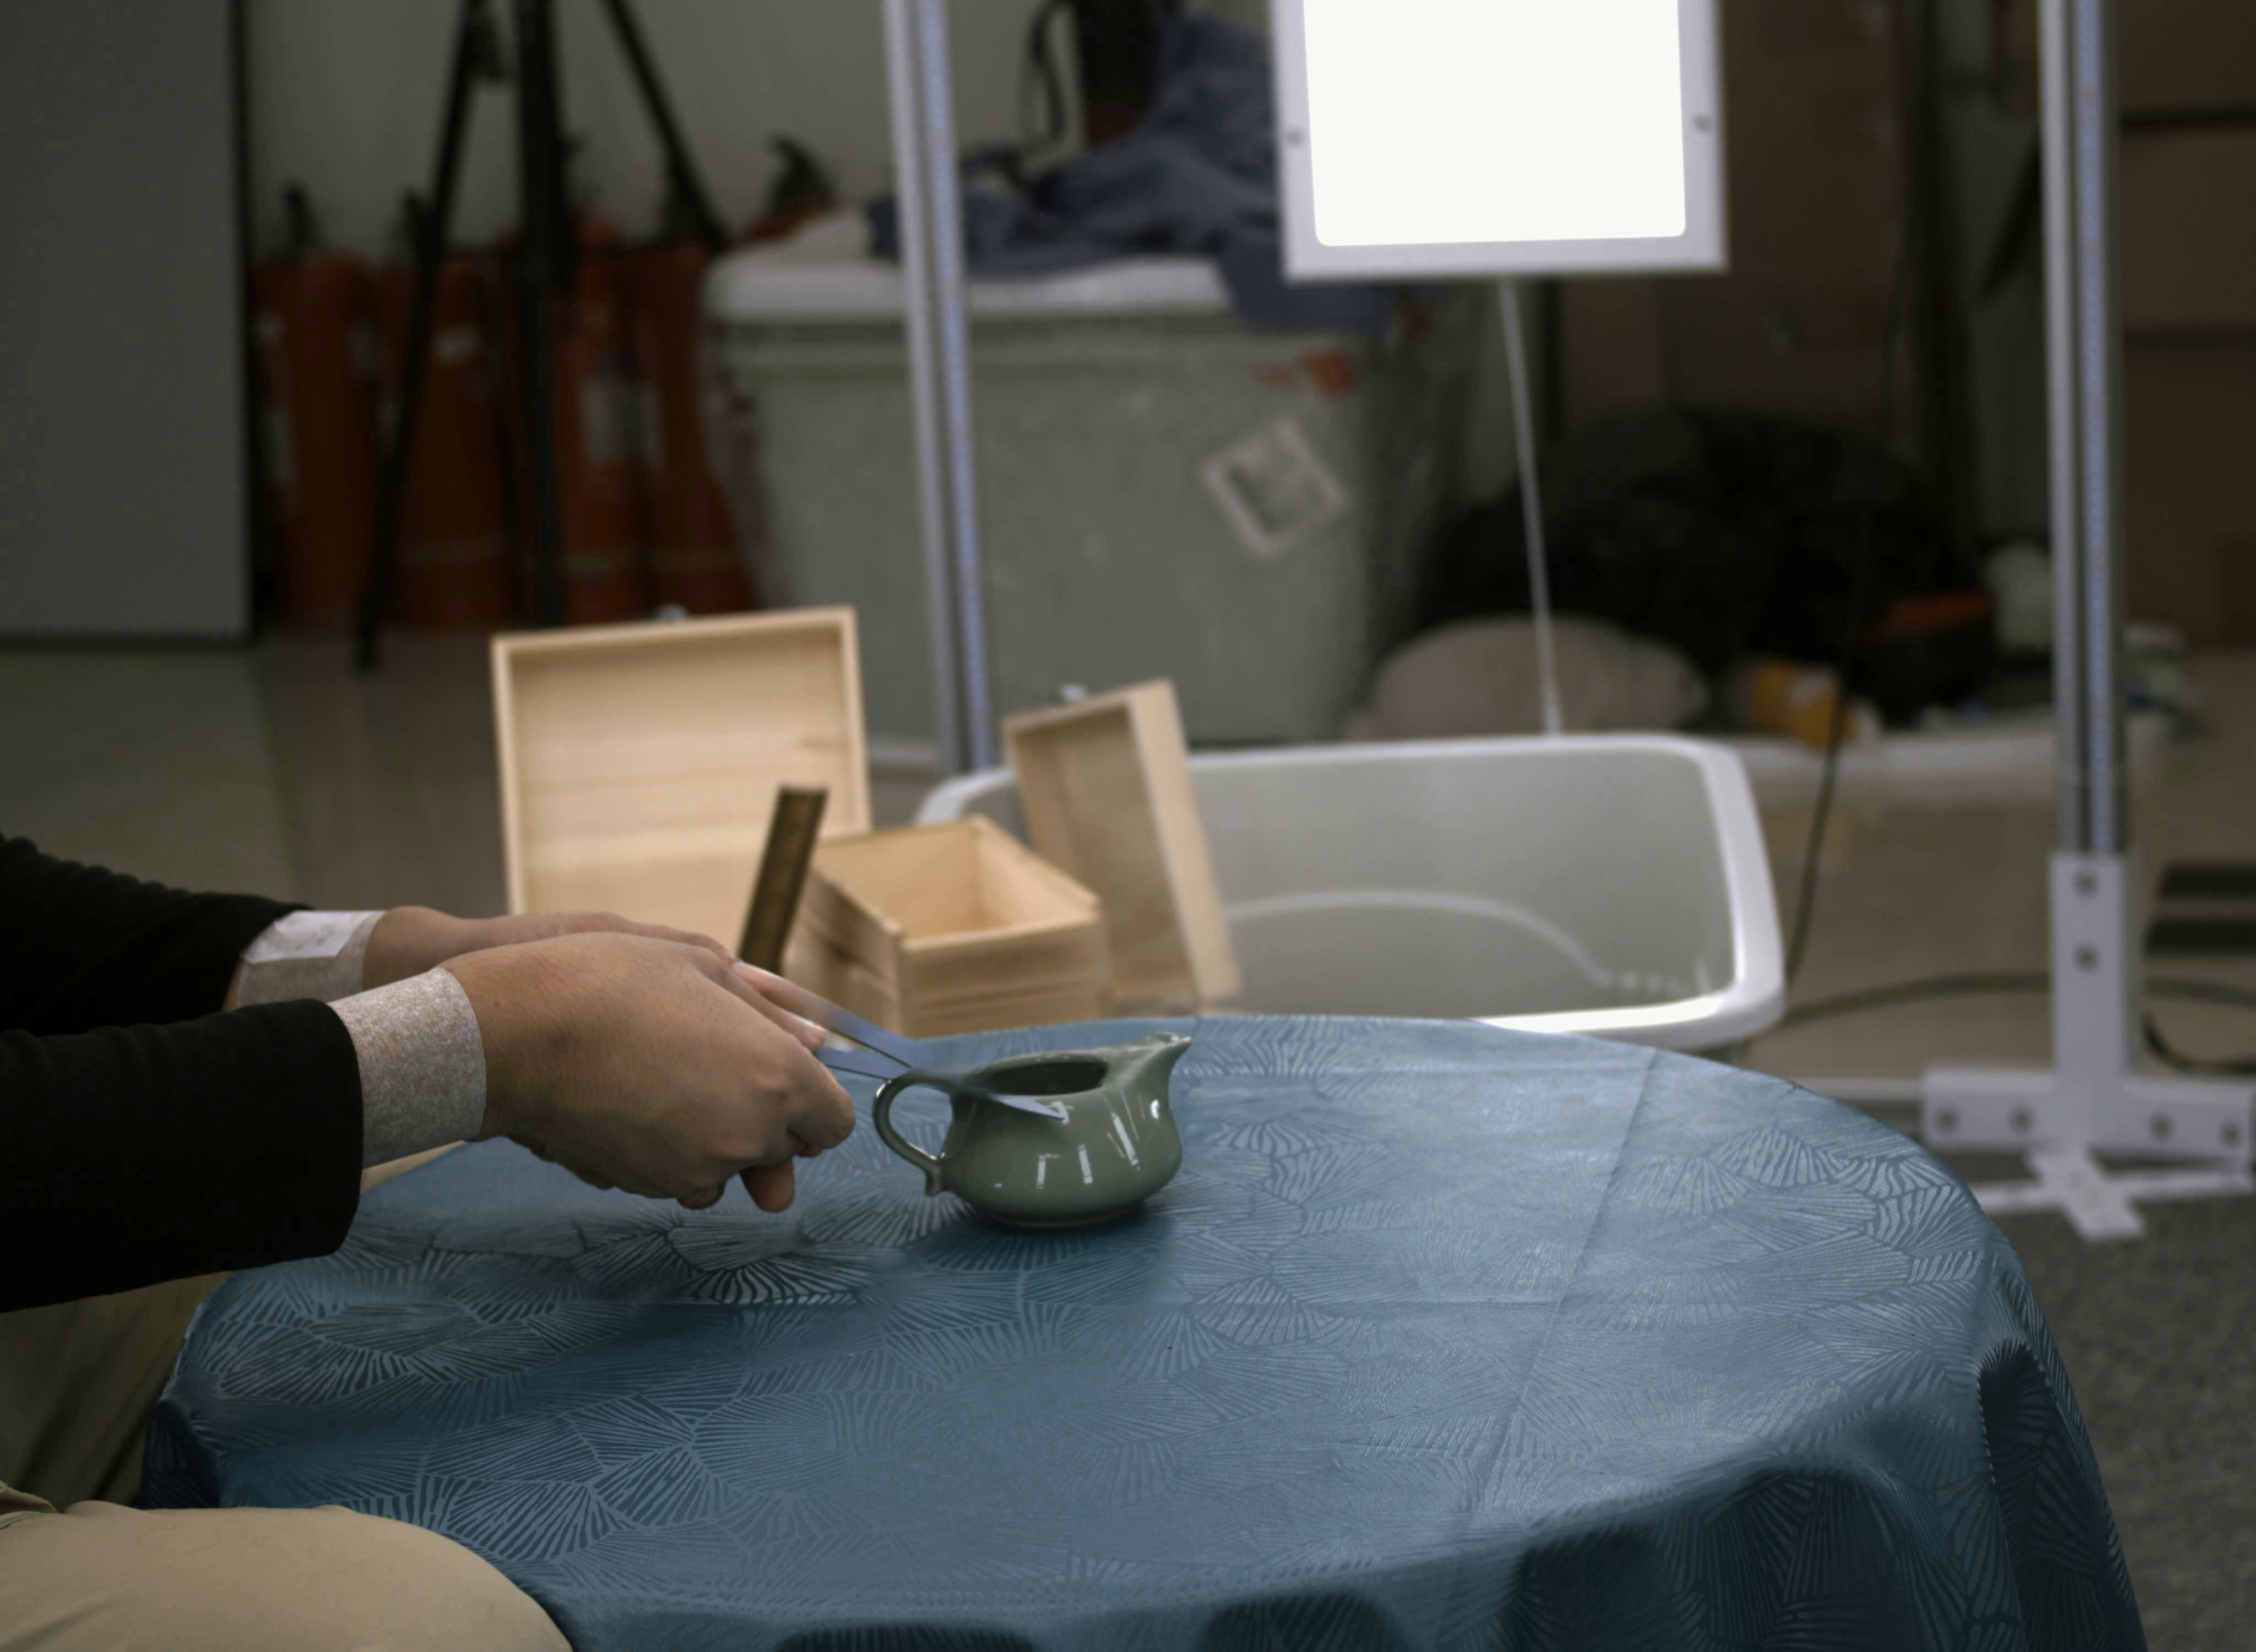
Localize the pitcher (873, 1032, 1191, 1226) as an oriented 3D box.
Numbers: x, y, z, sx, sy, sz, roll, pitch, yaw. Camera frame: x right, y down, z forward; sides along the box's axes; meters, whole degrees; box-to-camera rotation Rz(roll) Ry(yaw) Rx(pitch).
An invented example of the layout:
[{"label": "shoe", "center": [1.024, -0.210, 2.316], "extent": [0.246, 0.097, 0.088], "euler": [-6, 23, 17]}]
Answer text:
[{"label": "pitcher", "center": [-0.031, 0.104, 1.884], "extent": [0.111, 0.056, 0.085], "euler": [-7, 12, -9]}]

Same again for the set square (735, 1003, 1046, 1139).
[{"label": "set square", "center": [-0.087, 0.083, 1.857], "extent": [0.059, 0.006, 0.134], "euler": [-5, 21, -40]}]
